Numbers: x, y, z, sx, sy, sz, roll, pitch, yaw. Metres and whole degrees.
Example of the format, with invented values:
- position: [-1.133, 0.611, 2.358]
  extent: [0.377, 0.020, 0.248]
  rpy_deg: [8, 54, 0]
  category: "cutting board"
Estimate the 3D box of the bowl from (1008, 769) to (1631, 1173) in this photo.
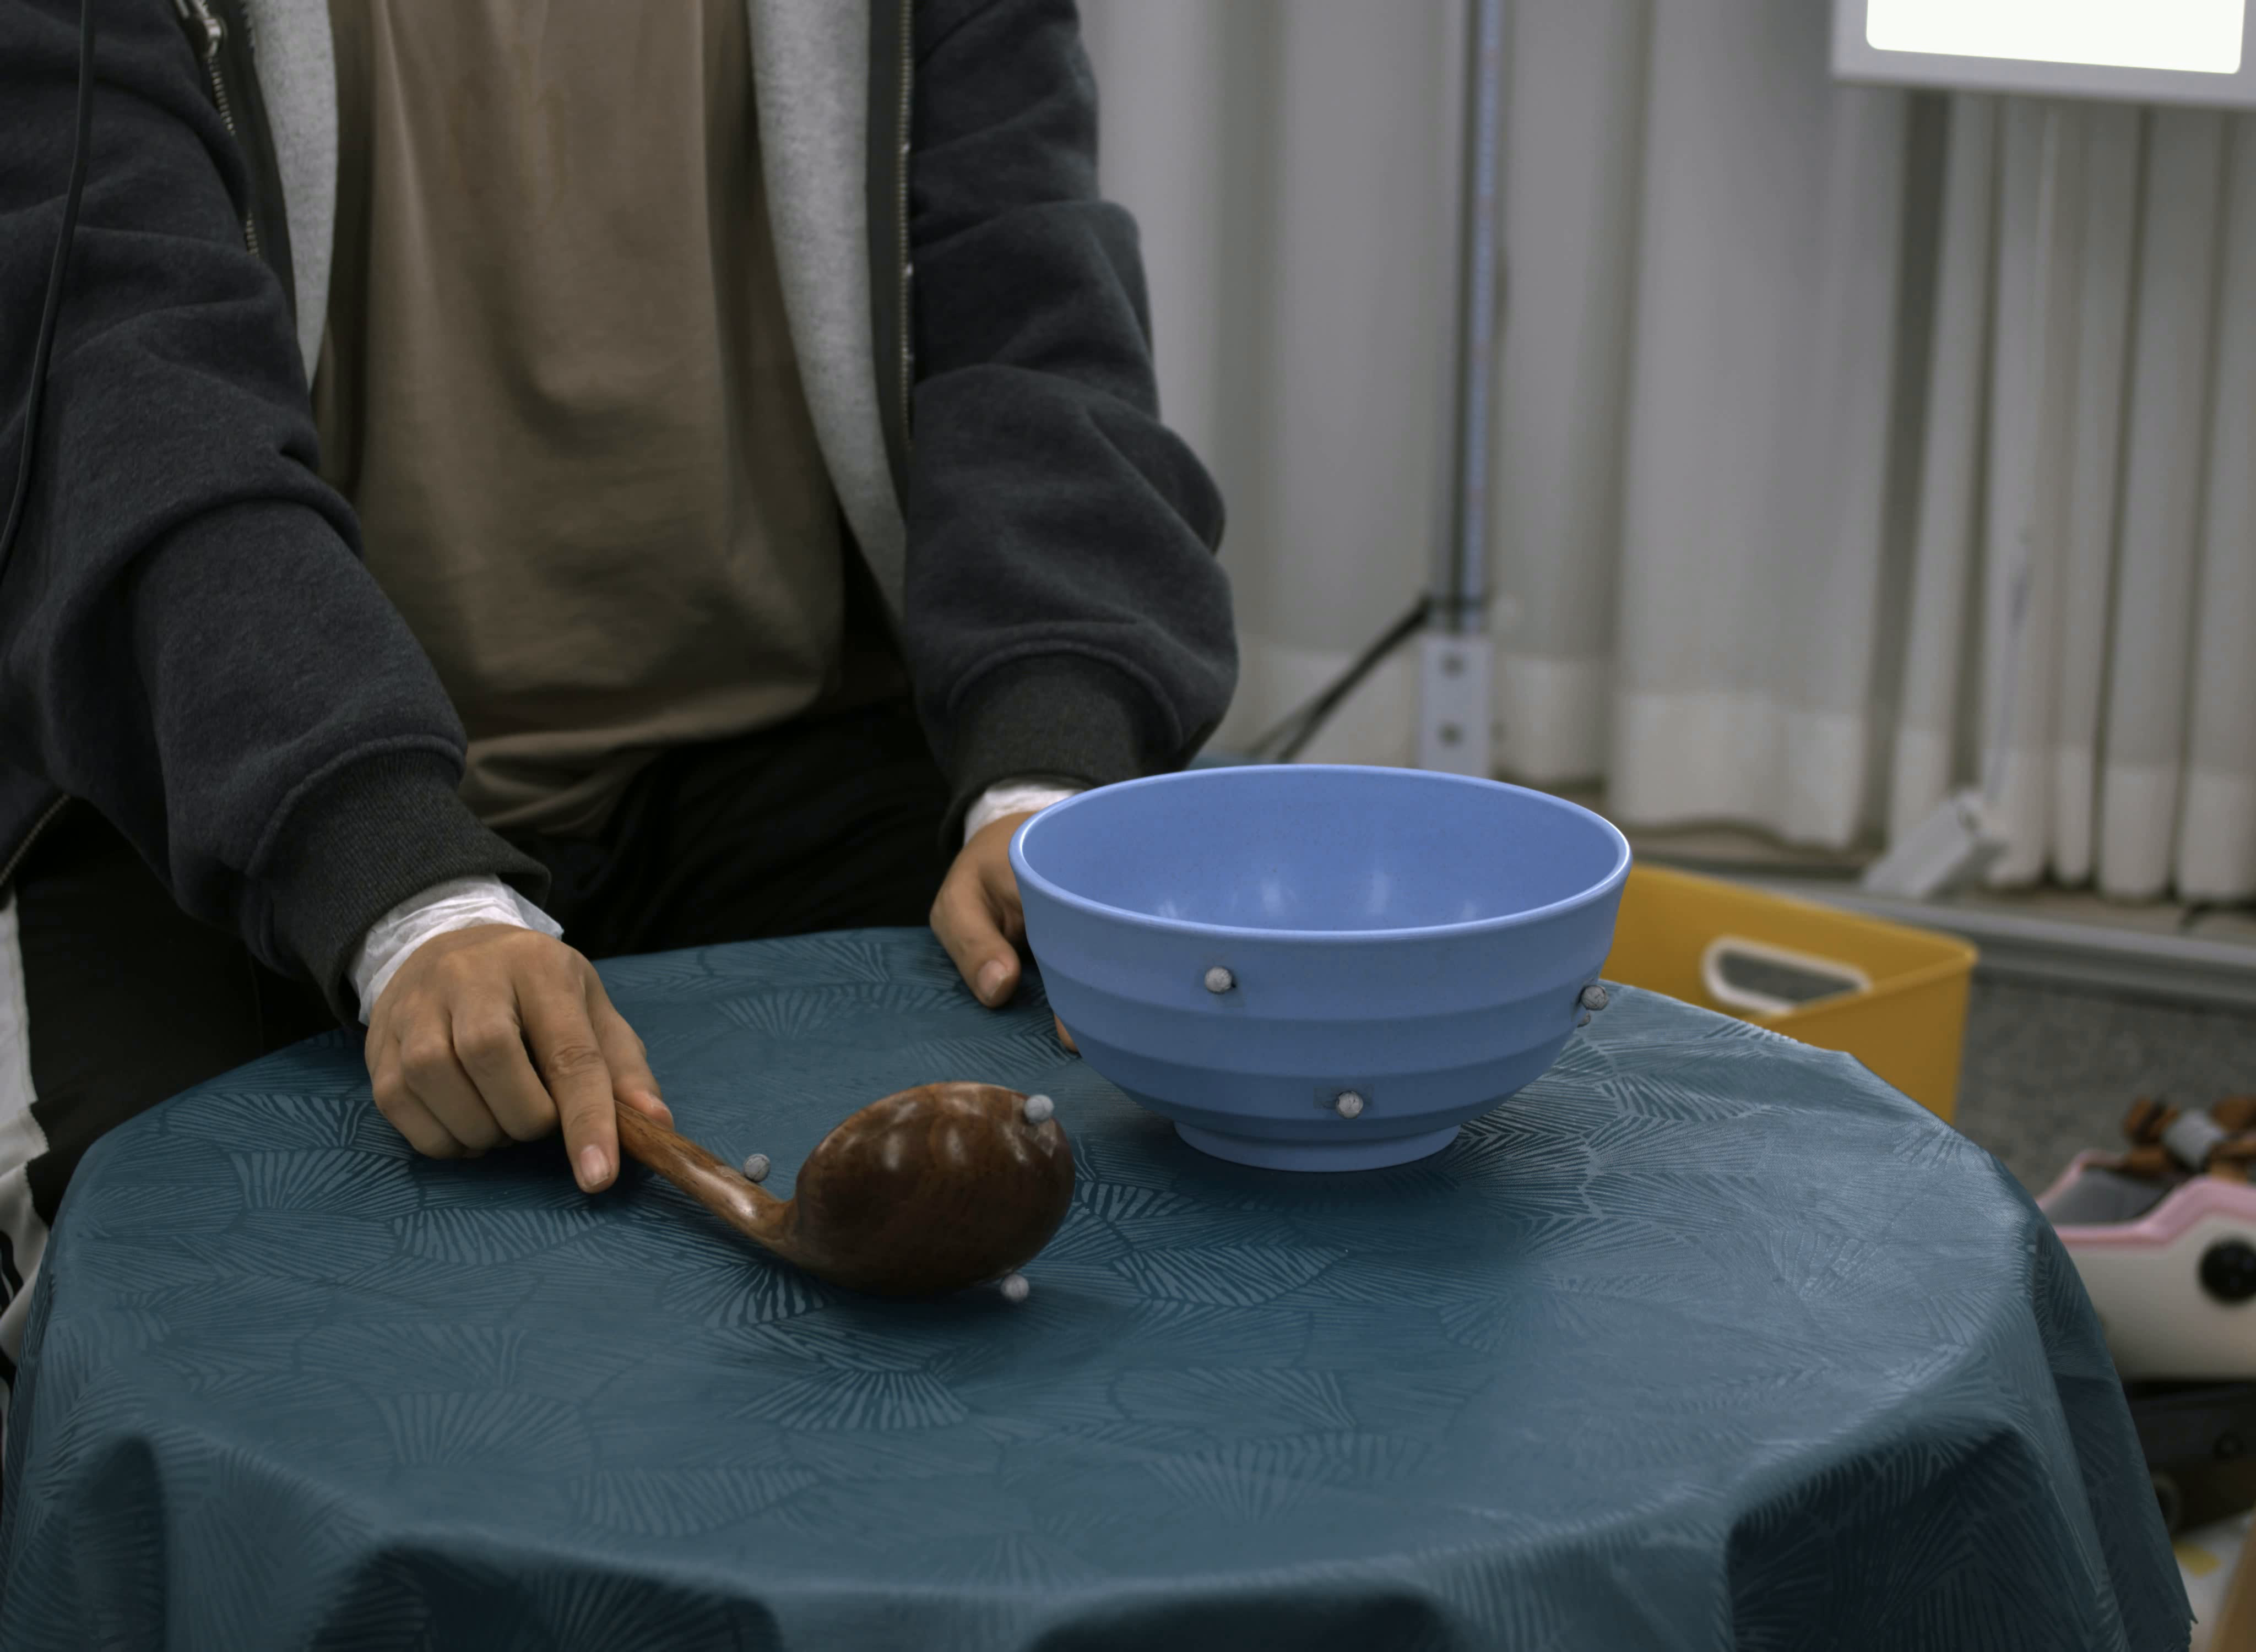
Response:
- position: [0.061, 0.051, 1.670]
  extent: [0.196, 0.096, 0.195]
  rpy_deg: [0, 15, 1]
  category: "bowl"

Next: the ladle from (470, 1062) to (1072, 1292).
- position: [-0.116, 0.081, 1.593]
  extent: [0.083, 0.076, 0.270]
  rpy_deg: [33, -8, -36]
  category: "ladle"
